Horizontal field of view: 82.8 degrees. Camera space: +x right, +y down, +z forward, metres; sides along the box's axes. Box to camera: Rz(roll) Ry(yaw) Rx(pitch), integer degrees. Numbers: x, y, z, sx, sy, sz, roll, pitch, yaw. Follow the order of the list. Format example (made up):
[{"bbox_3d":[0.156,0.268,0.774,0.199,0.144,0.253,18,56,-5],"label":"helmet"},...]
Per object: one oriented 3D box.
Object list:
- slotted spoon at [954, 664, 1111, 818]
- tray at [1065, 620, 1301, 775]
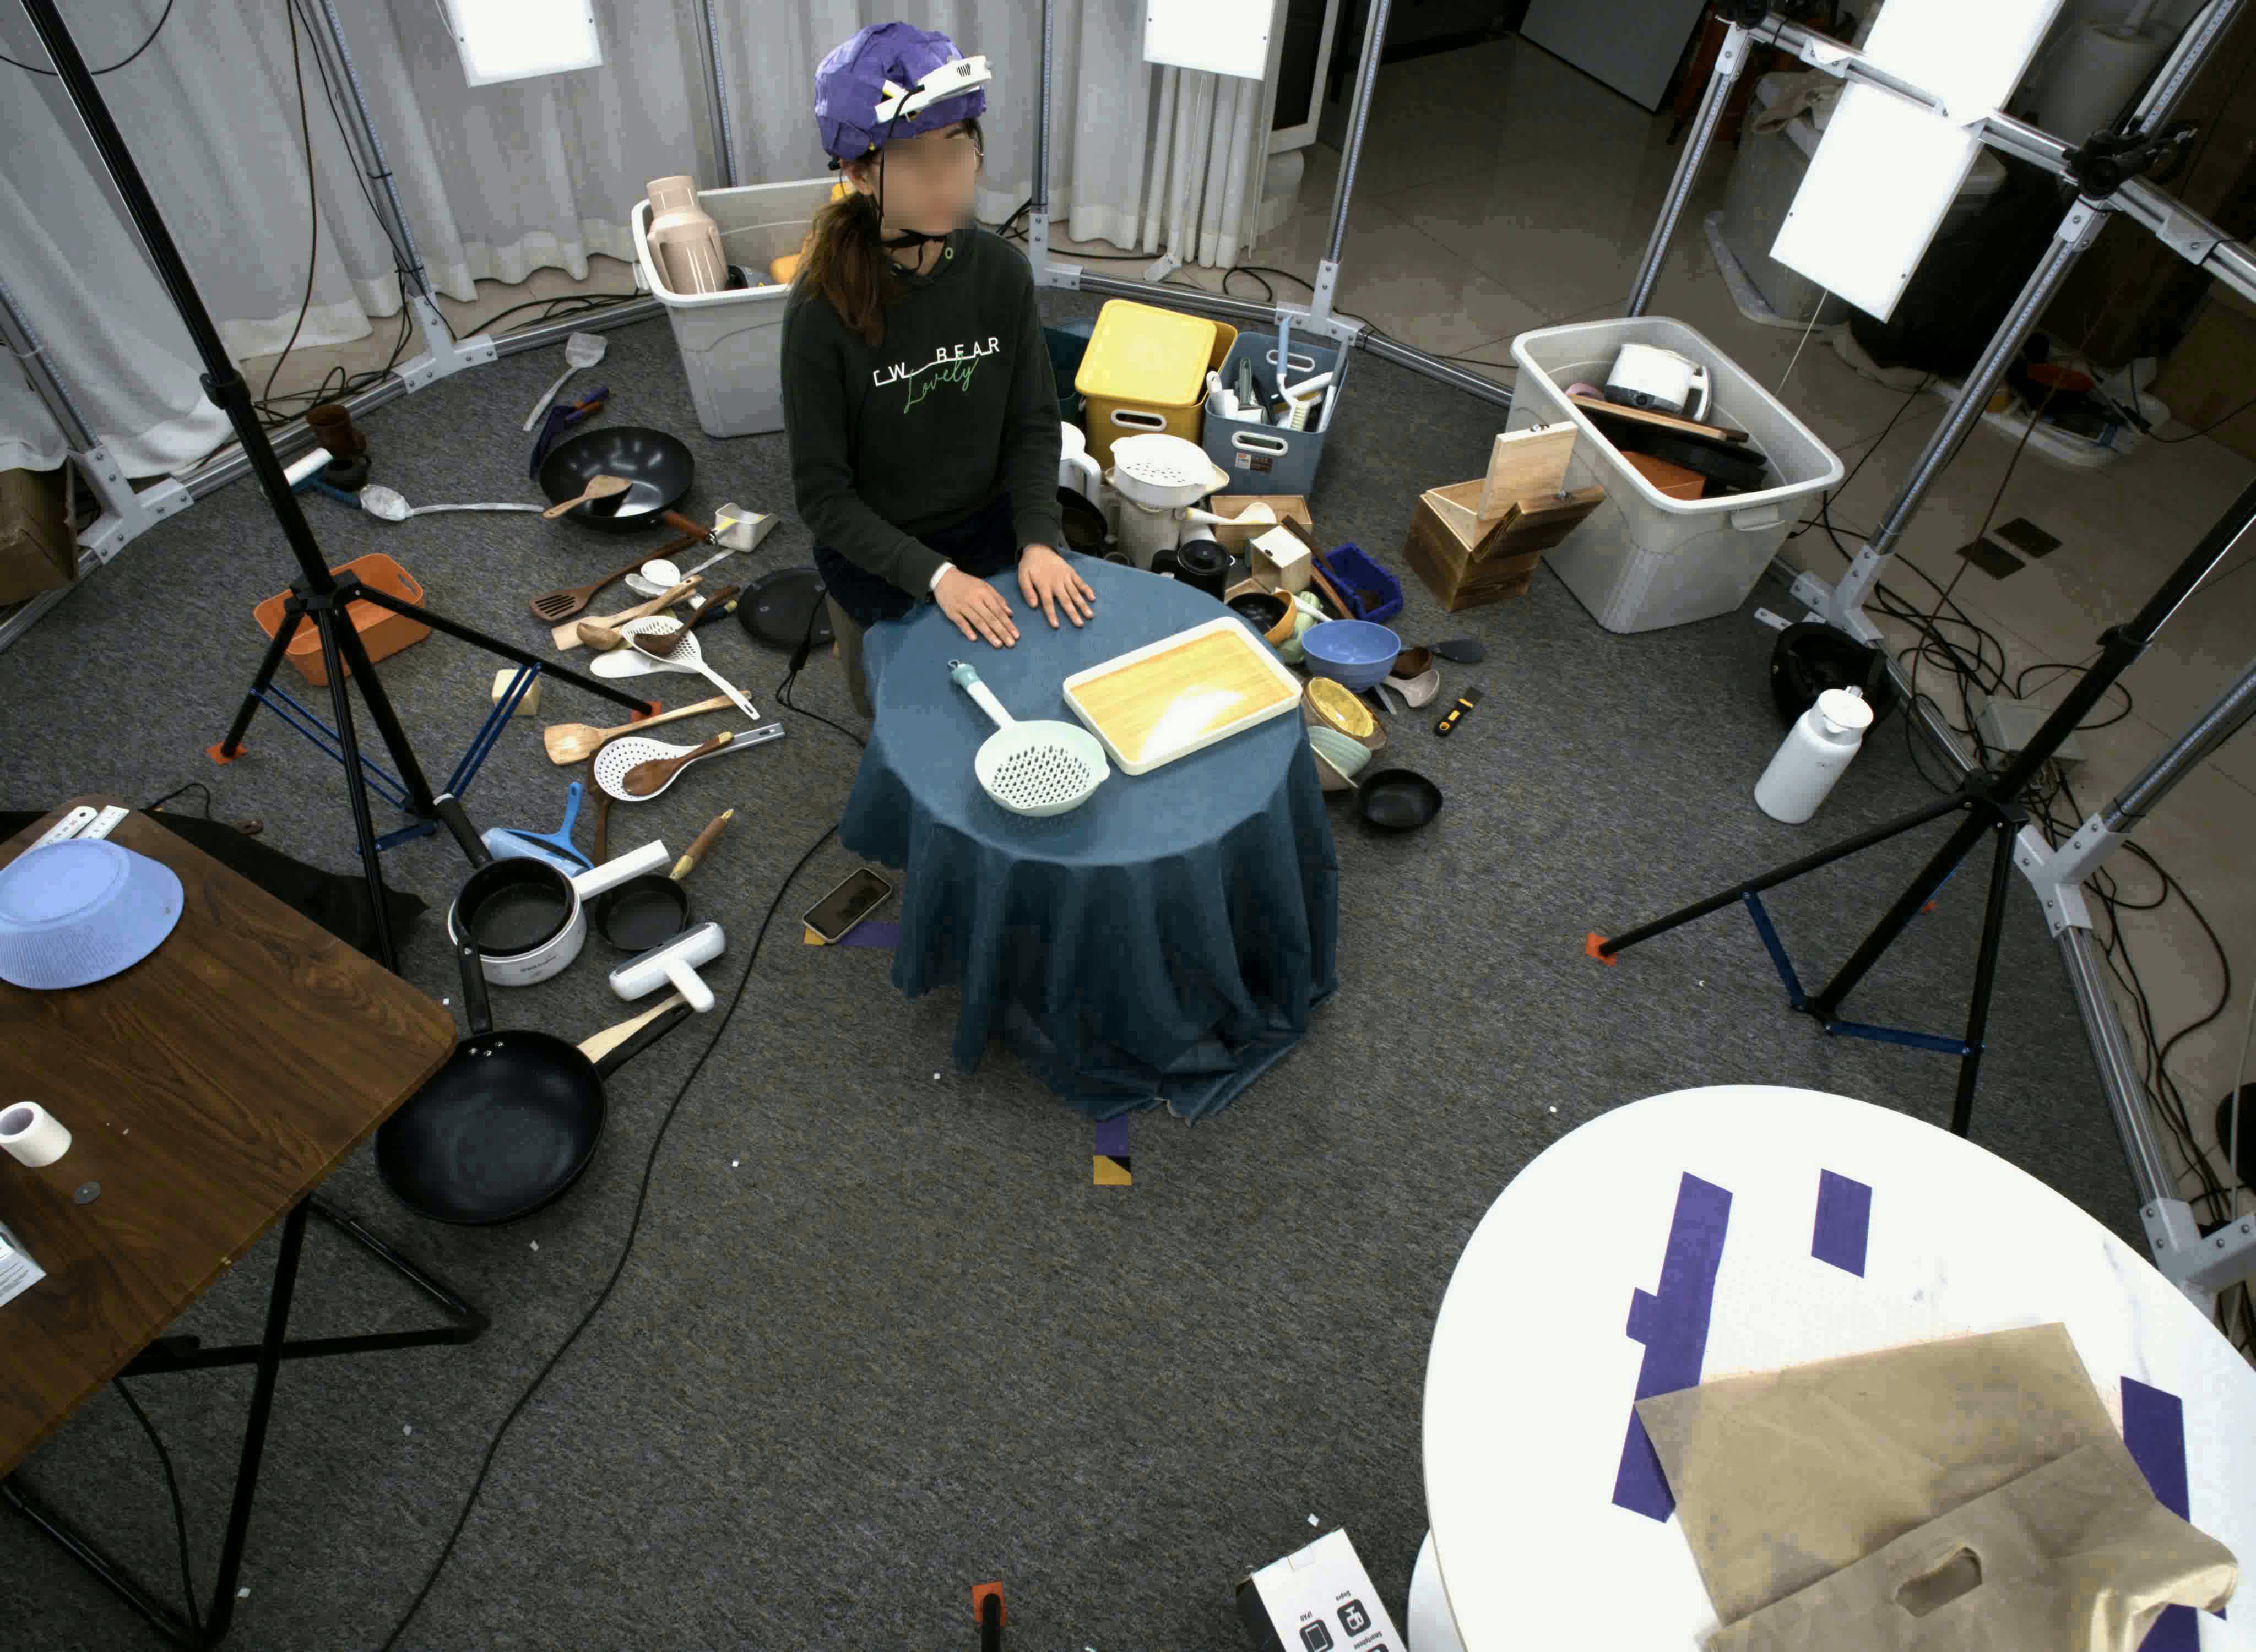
[{"bbox_3d":[-0.160,-0.132,1.746,0.170,0.073,0.366,-20,53,-21],"label":"slotted spoon"},{"bbox_3d":[0.079,-0.189,1.838,0.301,0.027,0.195,-23,54,-23],"label":"tray"}]
